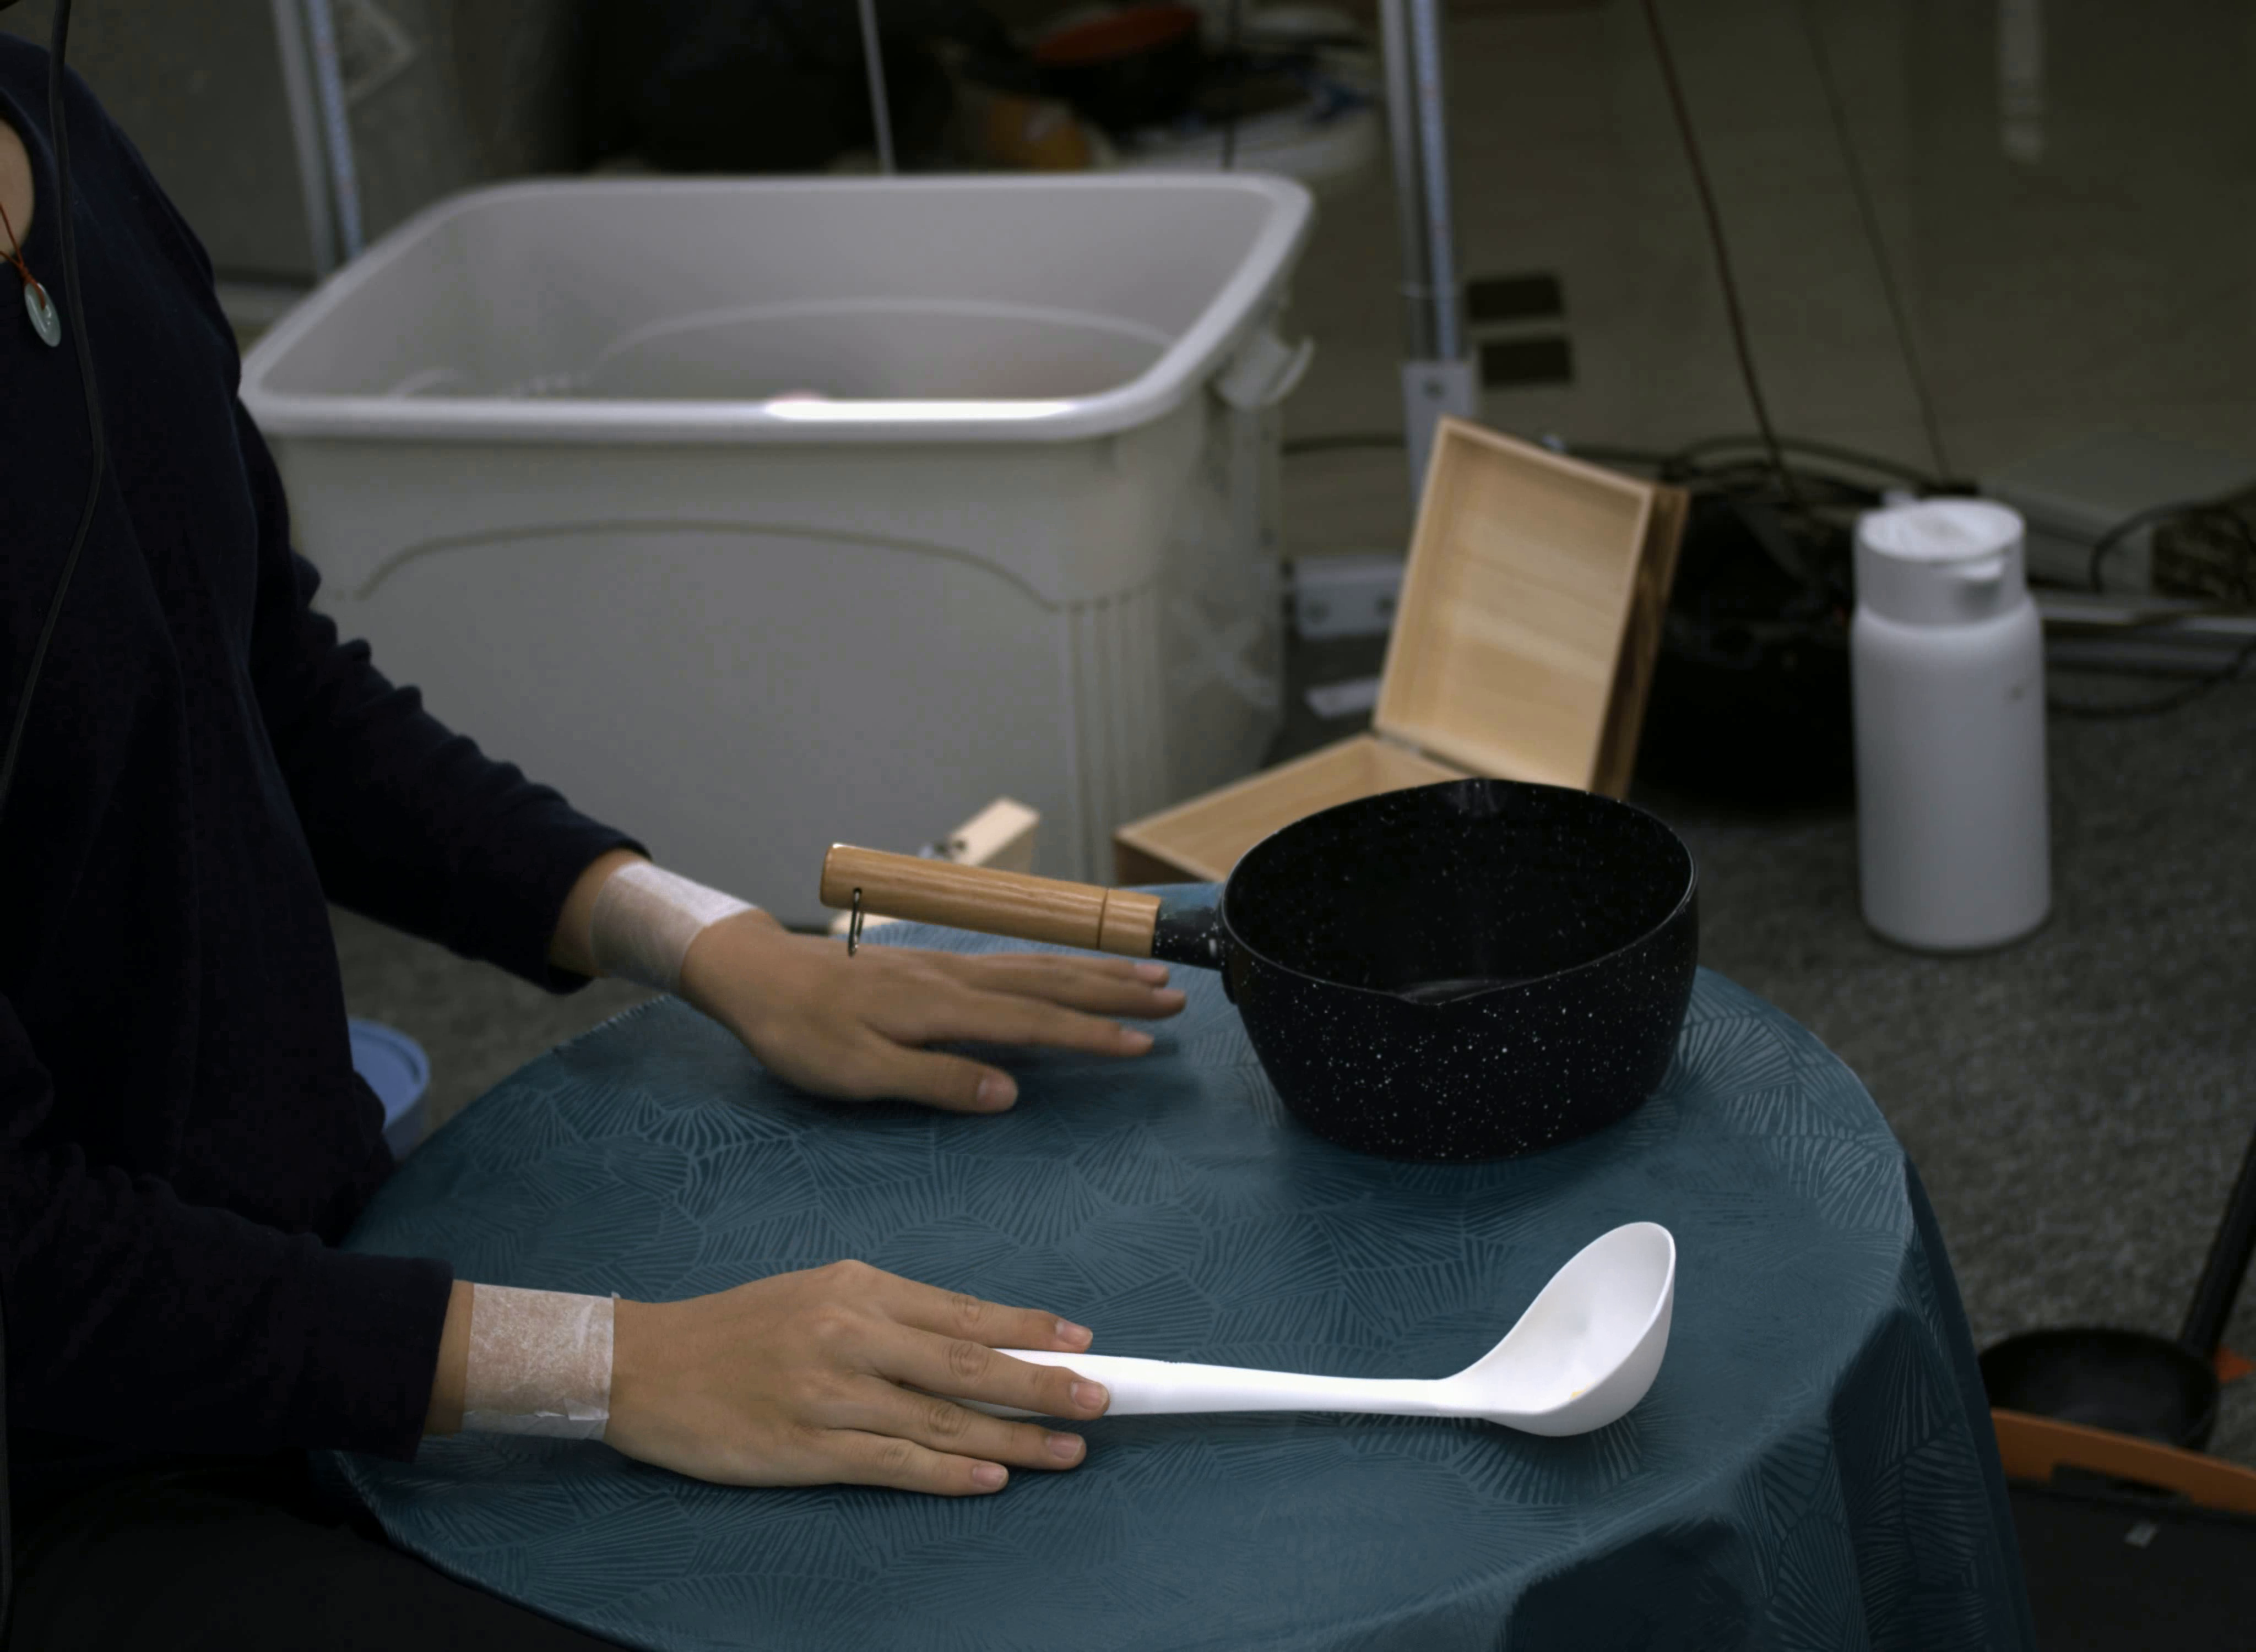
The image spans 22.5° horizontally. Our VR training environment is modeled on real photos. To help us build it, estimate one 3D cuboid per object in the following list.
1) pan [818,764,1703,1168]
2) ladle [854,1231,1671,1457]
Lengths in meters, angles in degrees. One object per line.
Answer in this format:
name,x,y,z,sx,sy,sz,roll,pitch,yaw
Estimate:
pan,0.051,0.051,2.192,0.342,0.110,0.204,-1,27,8
ladle,0.045,0.185,1.963,0.292,0.071,0.088,-2,42,12
